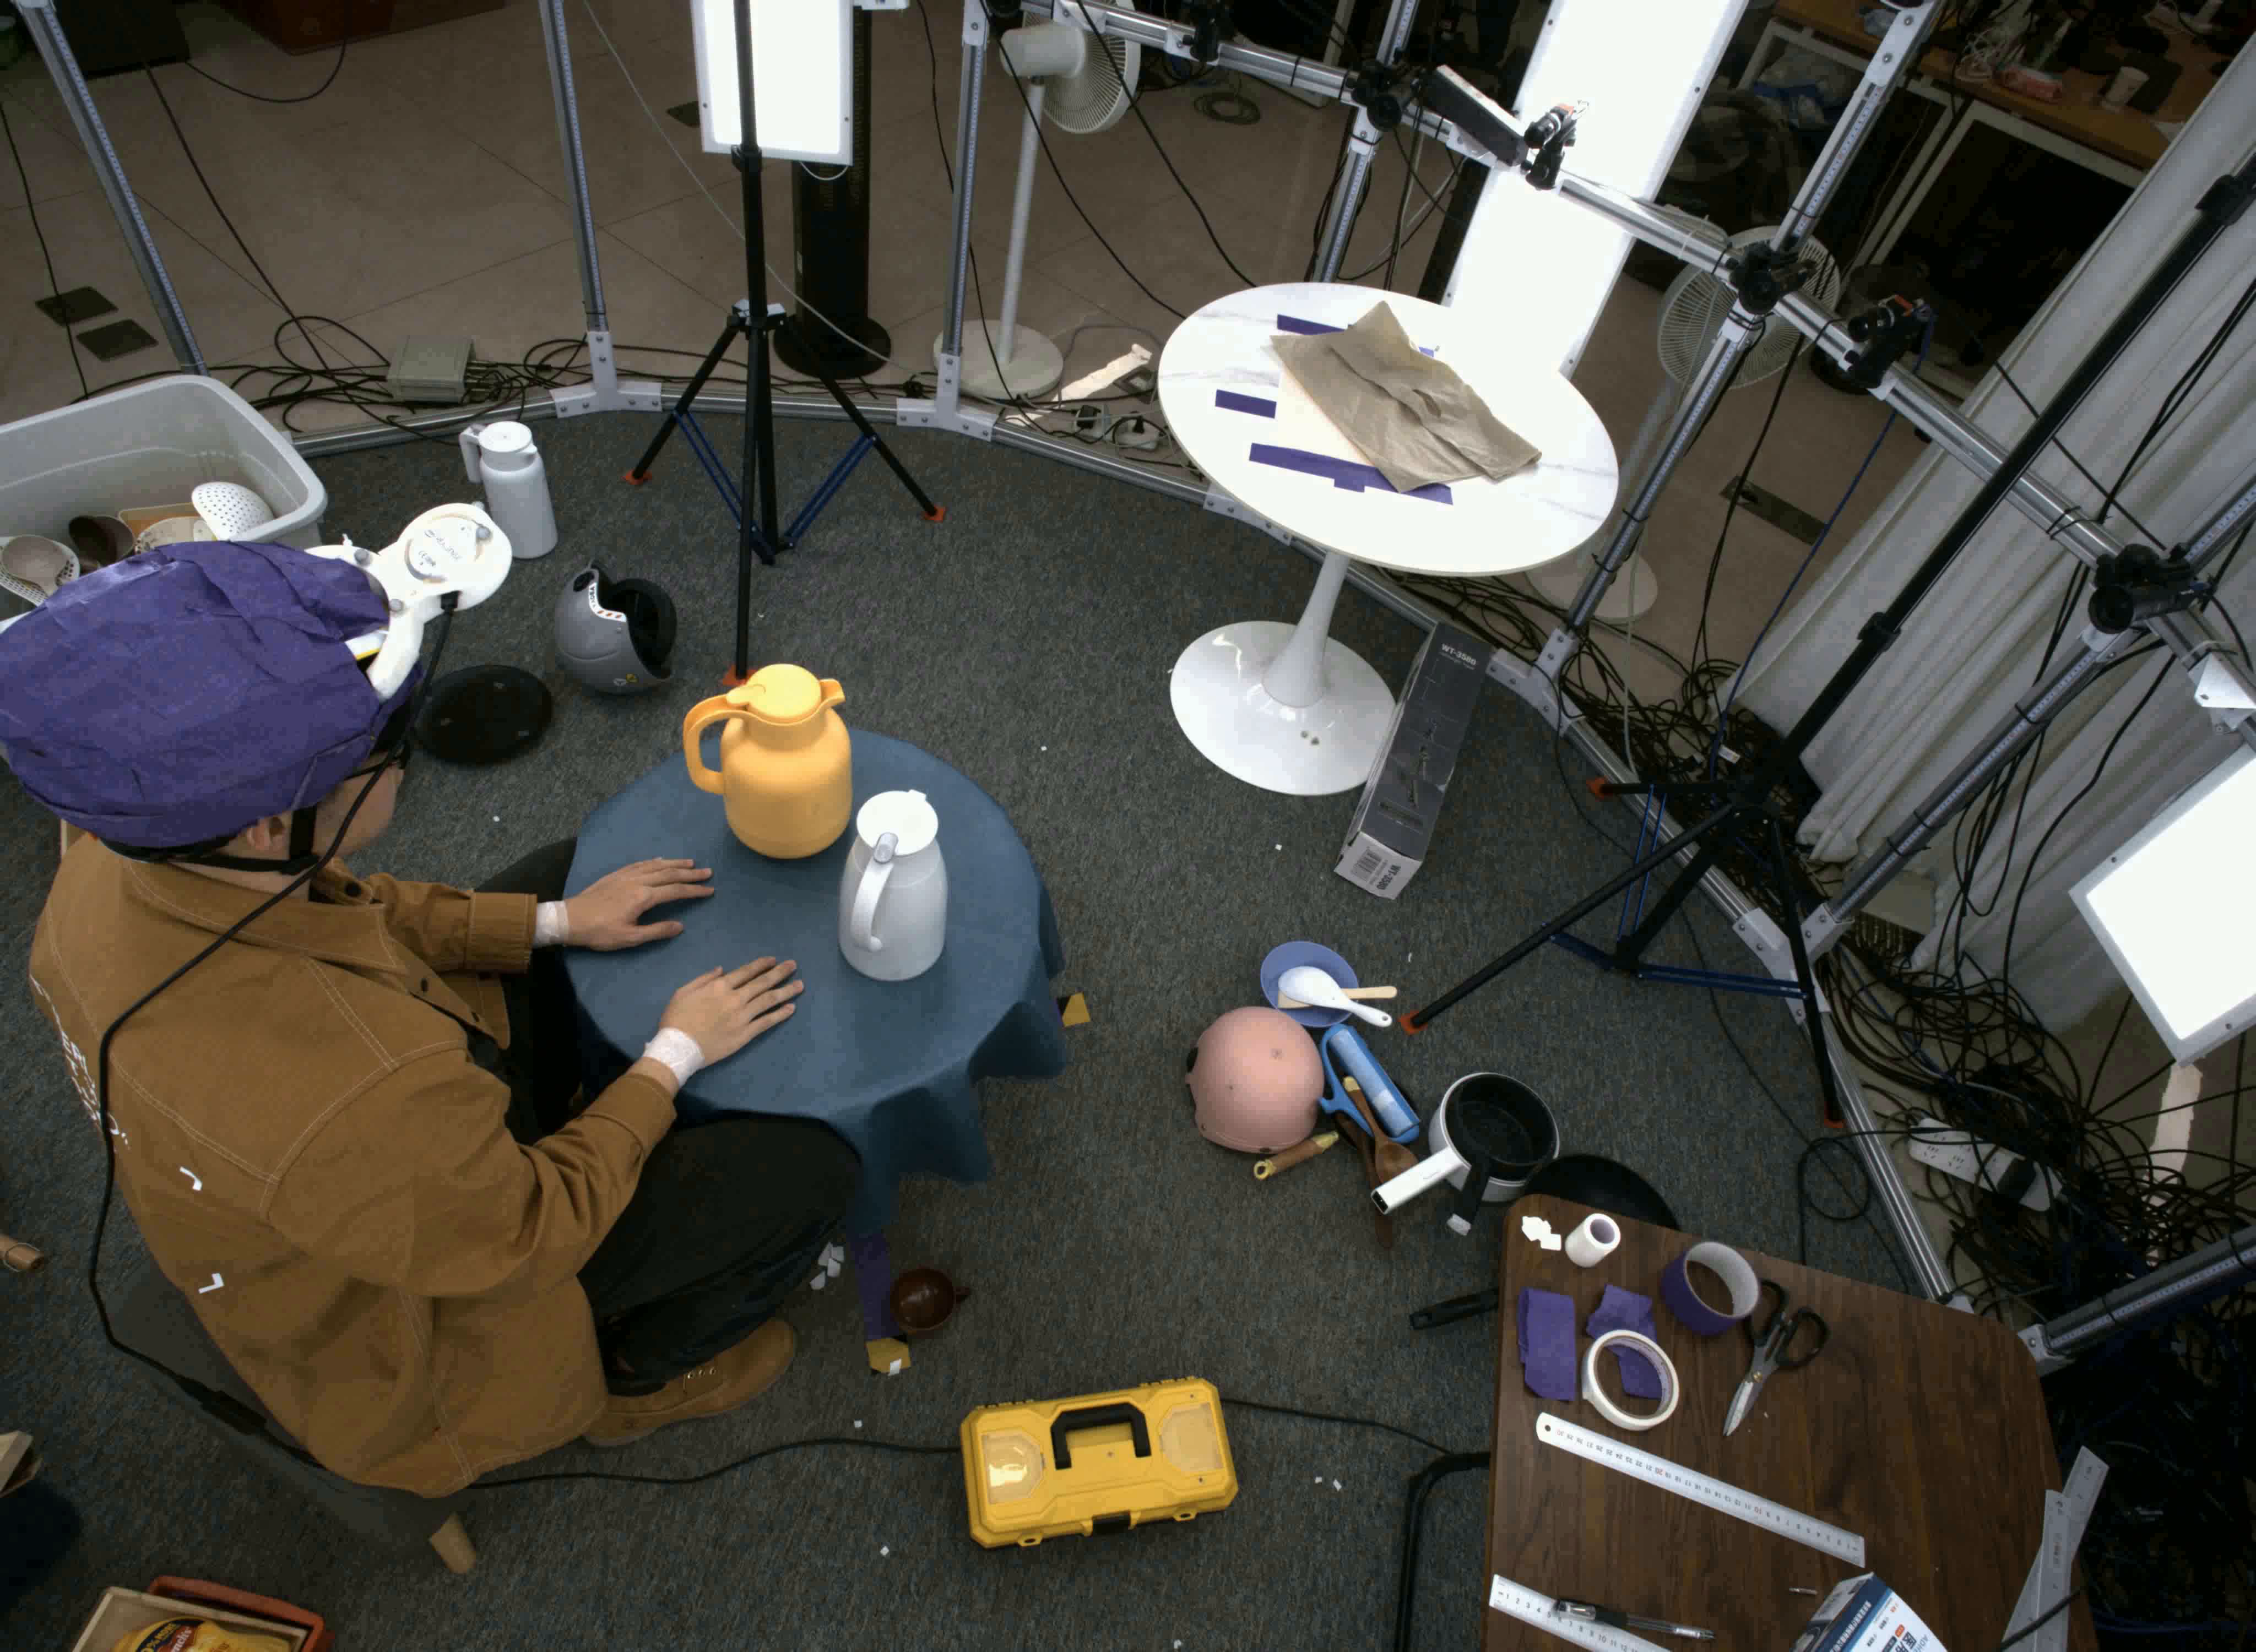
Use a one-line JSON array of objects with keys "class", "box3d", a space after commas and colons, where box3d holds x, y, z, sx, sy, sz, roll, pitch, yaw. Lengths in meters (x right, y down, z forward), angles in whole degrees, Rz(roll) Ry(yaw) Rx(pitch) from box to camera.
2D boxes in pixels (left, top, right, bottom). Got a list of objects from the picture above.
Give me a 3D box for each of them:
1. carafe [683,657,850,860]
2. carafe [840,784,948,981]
[{"class": "carafe", "box3d": [-0.448, -0.088, 1.612, 0.203, 0.266, 0.159, -8, 53, -20]}, {"class": "carafe", "box3d": [-0.283, 0.076, 1.540, 0.131, 0.254, 0.166, 19, 52, 3]}]
